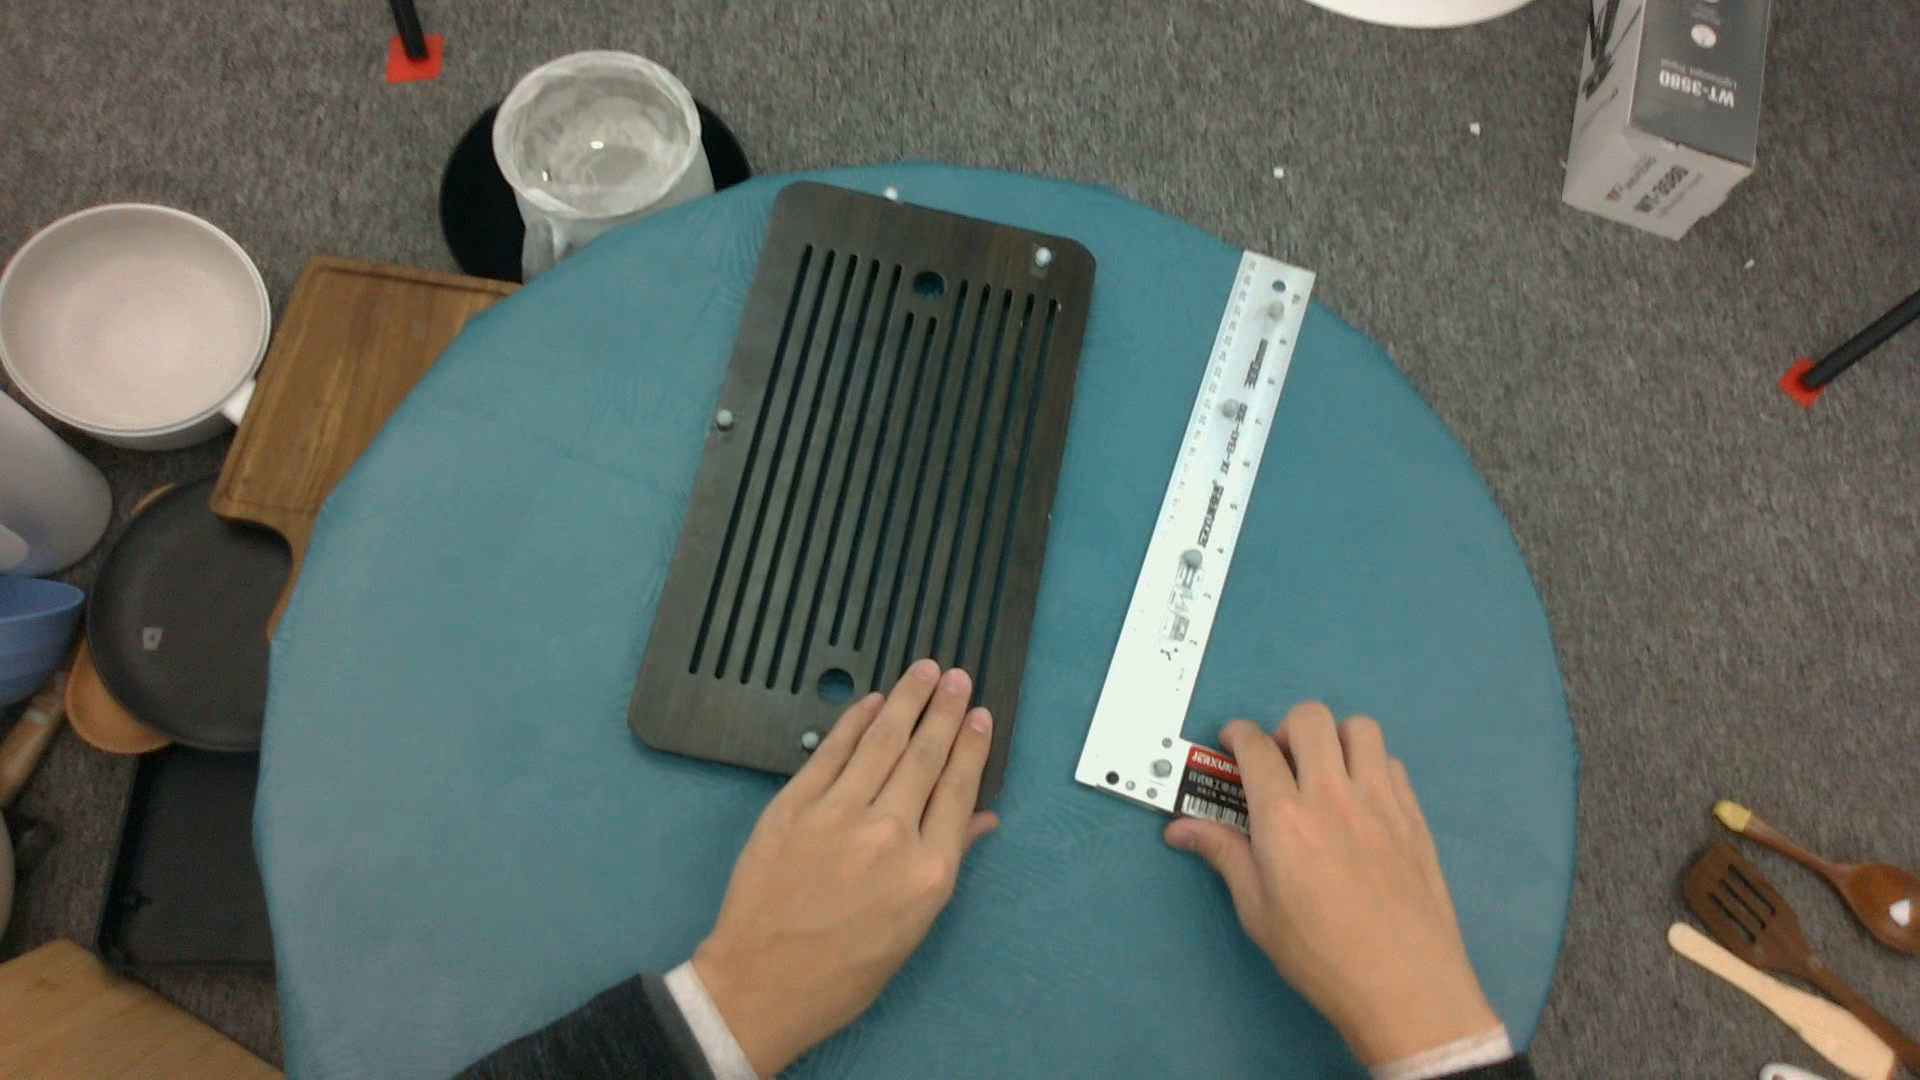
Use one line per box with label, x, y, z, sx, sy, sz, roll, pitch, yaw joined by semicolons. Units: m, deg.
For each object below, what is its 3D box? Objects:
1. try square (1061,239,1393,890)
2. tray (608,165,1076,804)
try square;0.165;-0.002;0.680;0.152;0.016;0.314;19;68;2
tray;-0.048;-0.037;0.662;0.170;0.018;0.307;12;69;-3
